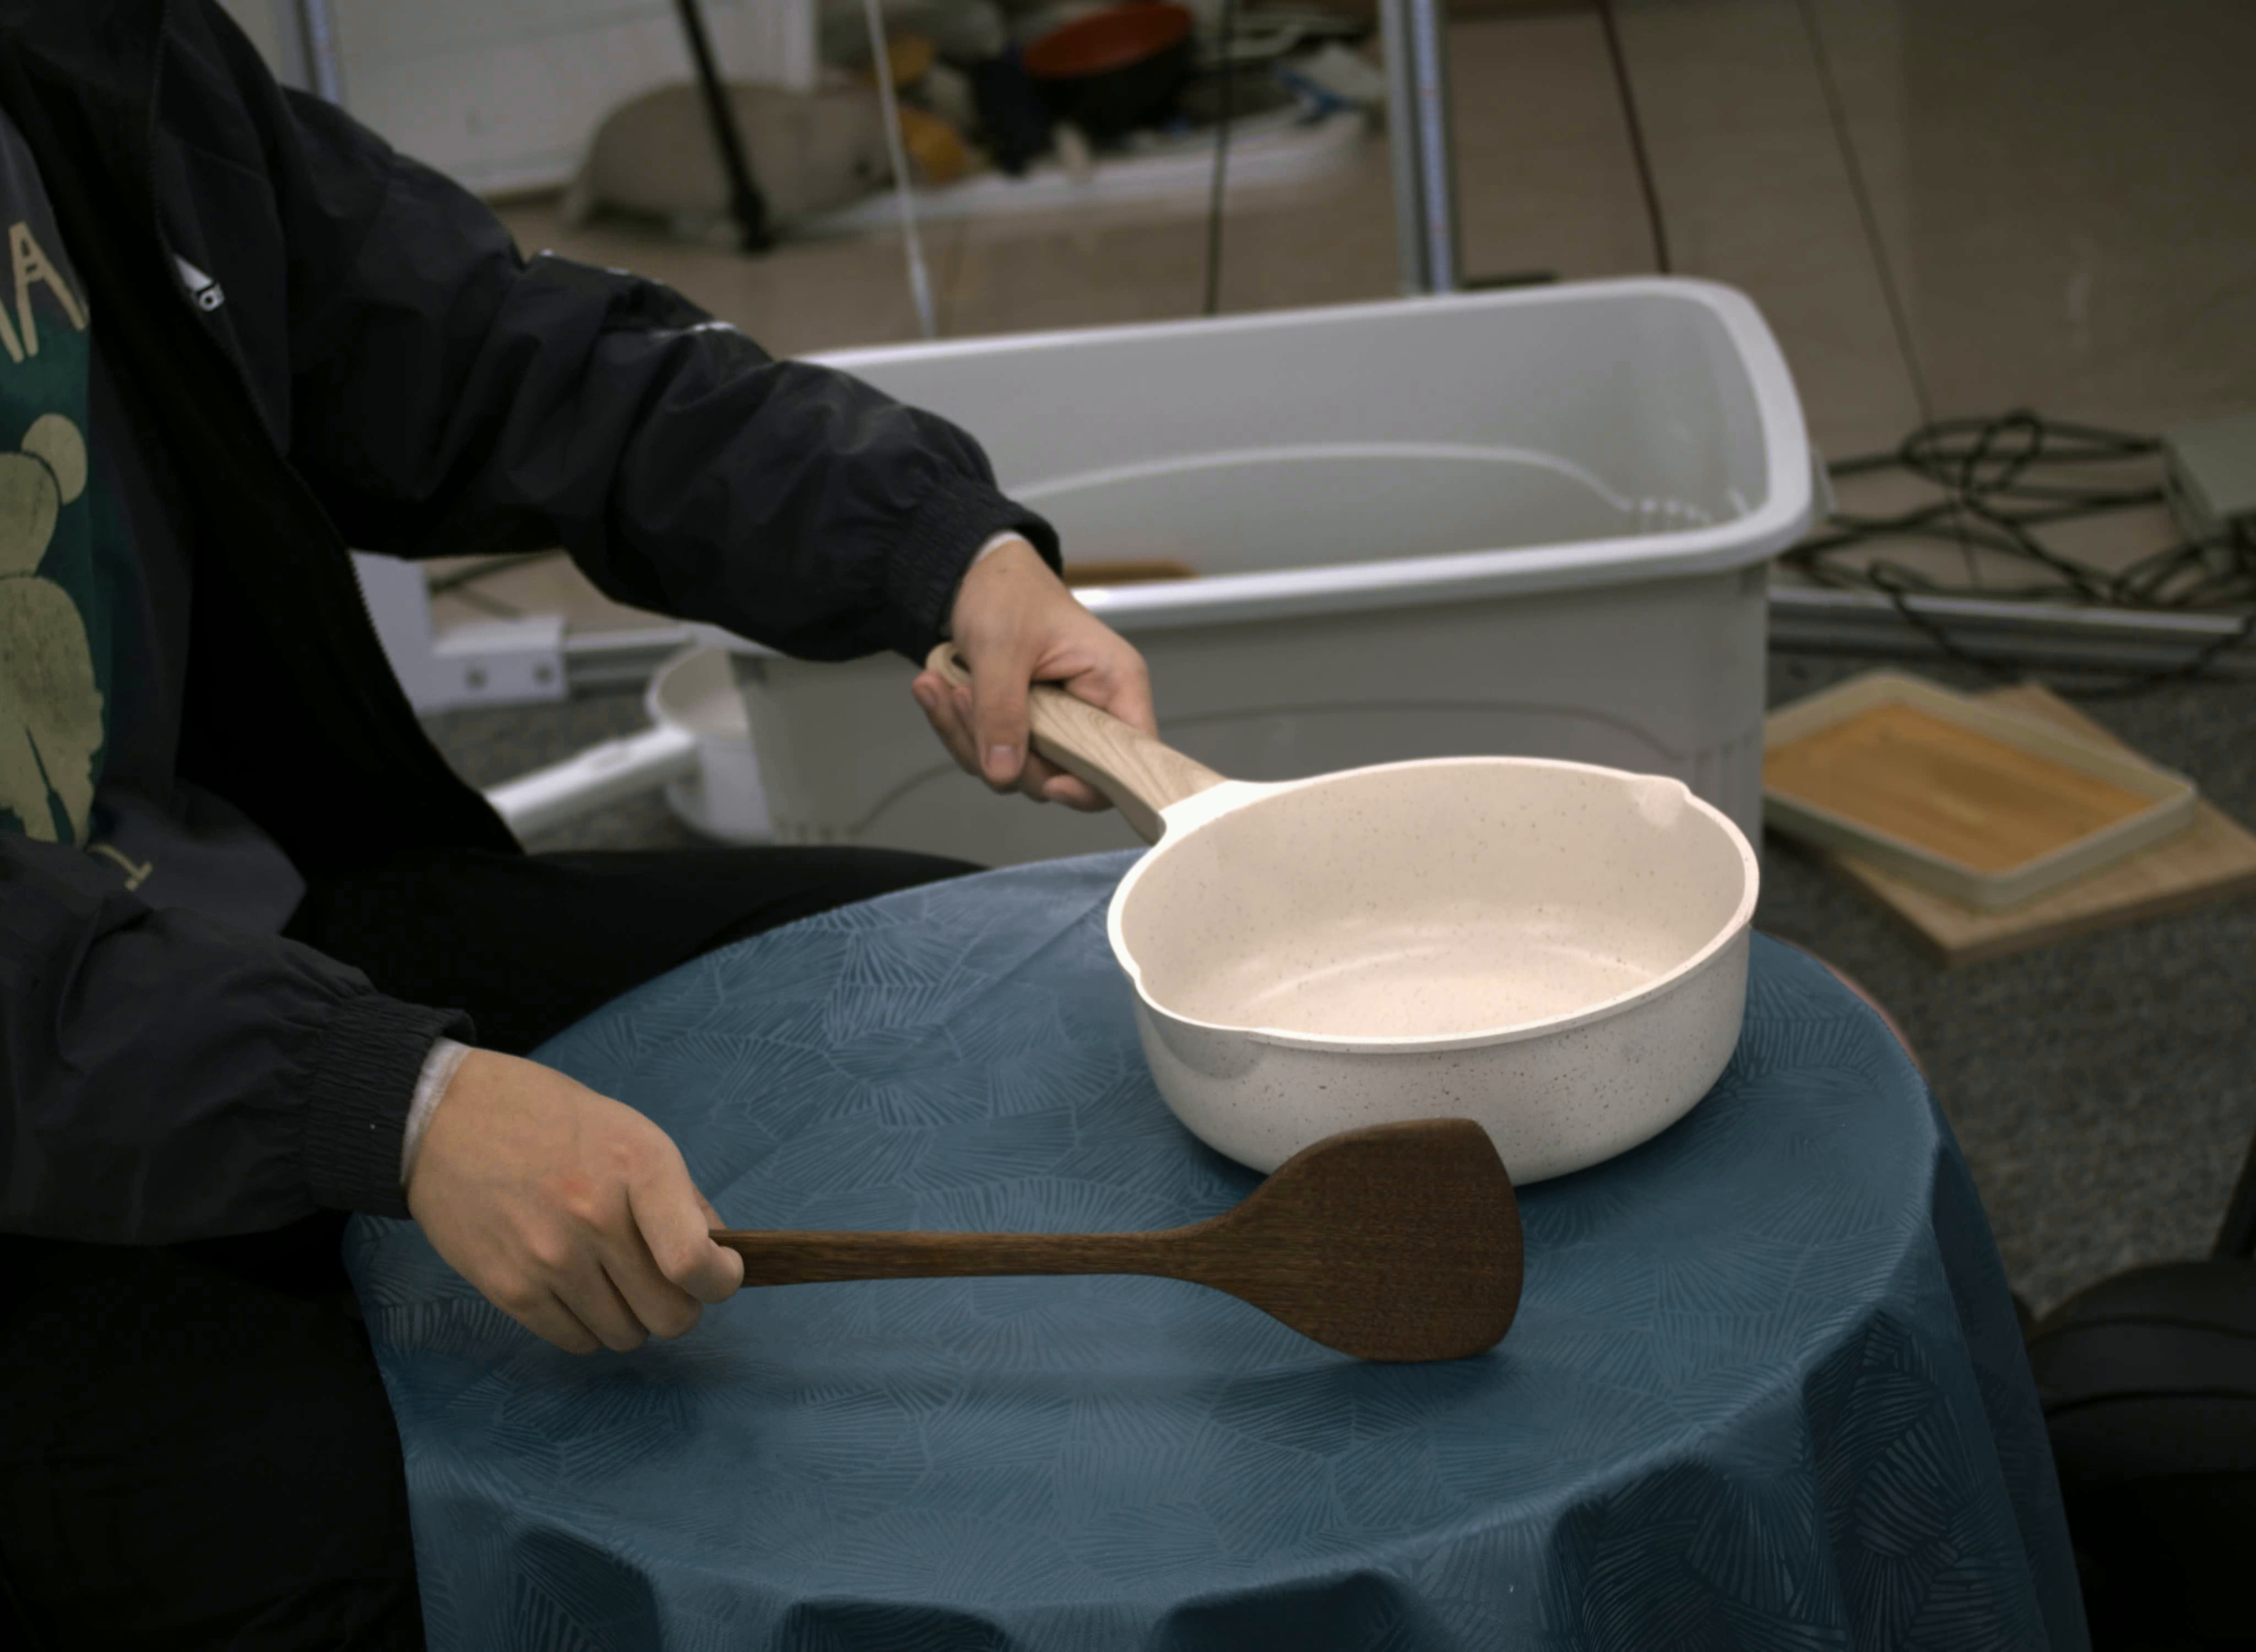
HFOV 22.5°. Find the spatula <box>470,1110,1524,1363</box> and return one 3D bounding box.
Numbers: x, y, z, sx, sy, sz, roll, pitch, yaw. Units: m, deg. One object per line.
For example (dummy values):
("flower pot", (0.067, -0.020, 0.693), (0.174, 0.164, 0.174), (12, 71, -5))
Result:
("spatula", (-0.050, 0.151, 2.023), (0.385, 0.097, 0.015), (-2, 23, 13))

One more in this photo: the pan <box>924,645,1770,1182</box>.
("pan", (0.066, 0.026, 2.250), (0.261, 0.103, 0.431), (-26, 31, -32))
